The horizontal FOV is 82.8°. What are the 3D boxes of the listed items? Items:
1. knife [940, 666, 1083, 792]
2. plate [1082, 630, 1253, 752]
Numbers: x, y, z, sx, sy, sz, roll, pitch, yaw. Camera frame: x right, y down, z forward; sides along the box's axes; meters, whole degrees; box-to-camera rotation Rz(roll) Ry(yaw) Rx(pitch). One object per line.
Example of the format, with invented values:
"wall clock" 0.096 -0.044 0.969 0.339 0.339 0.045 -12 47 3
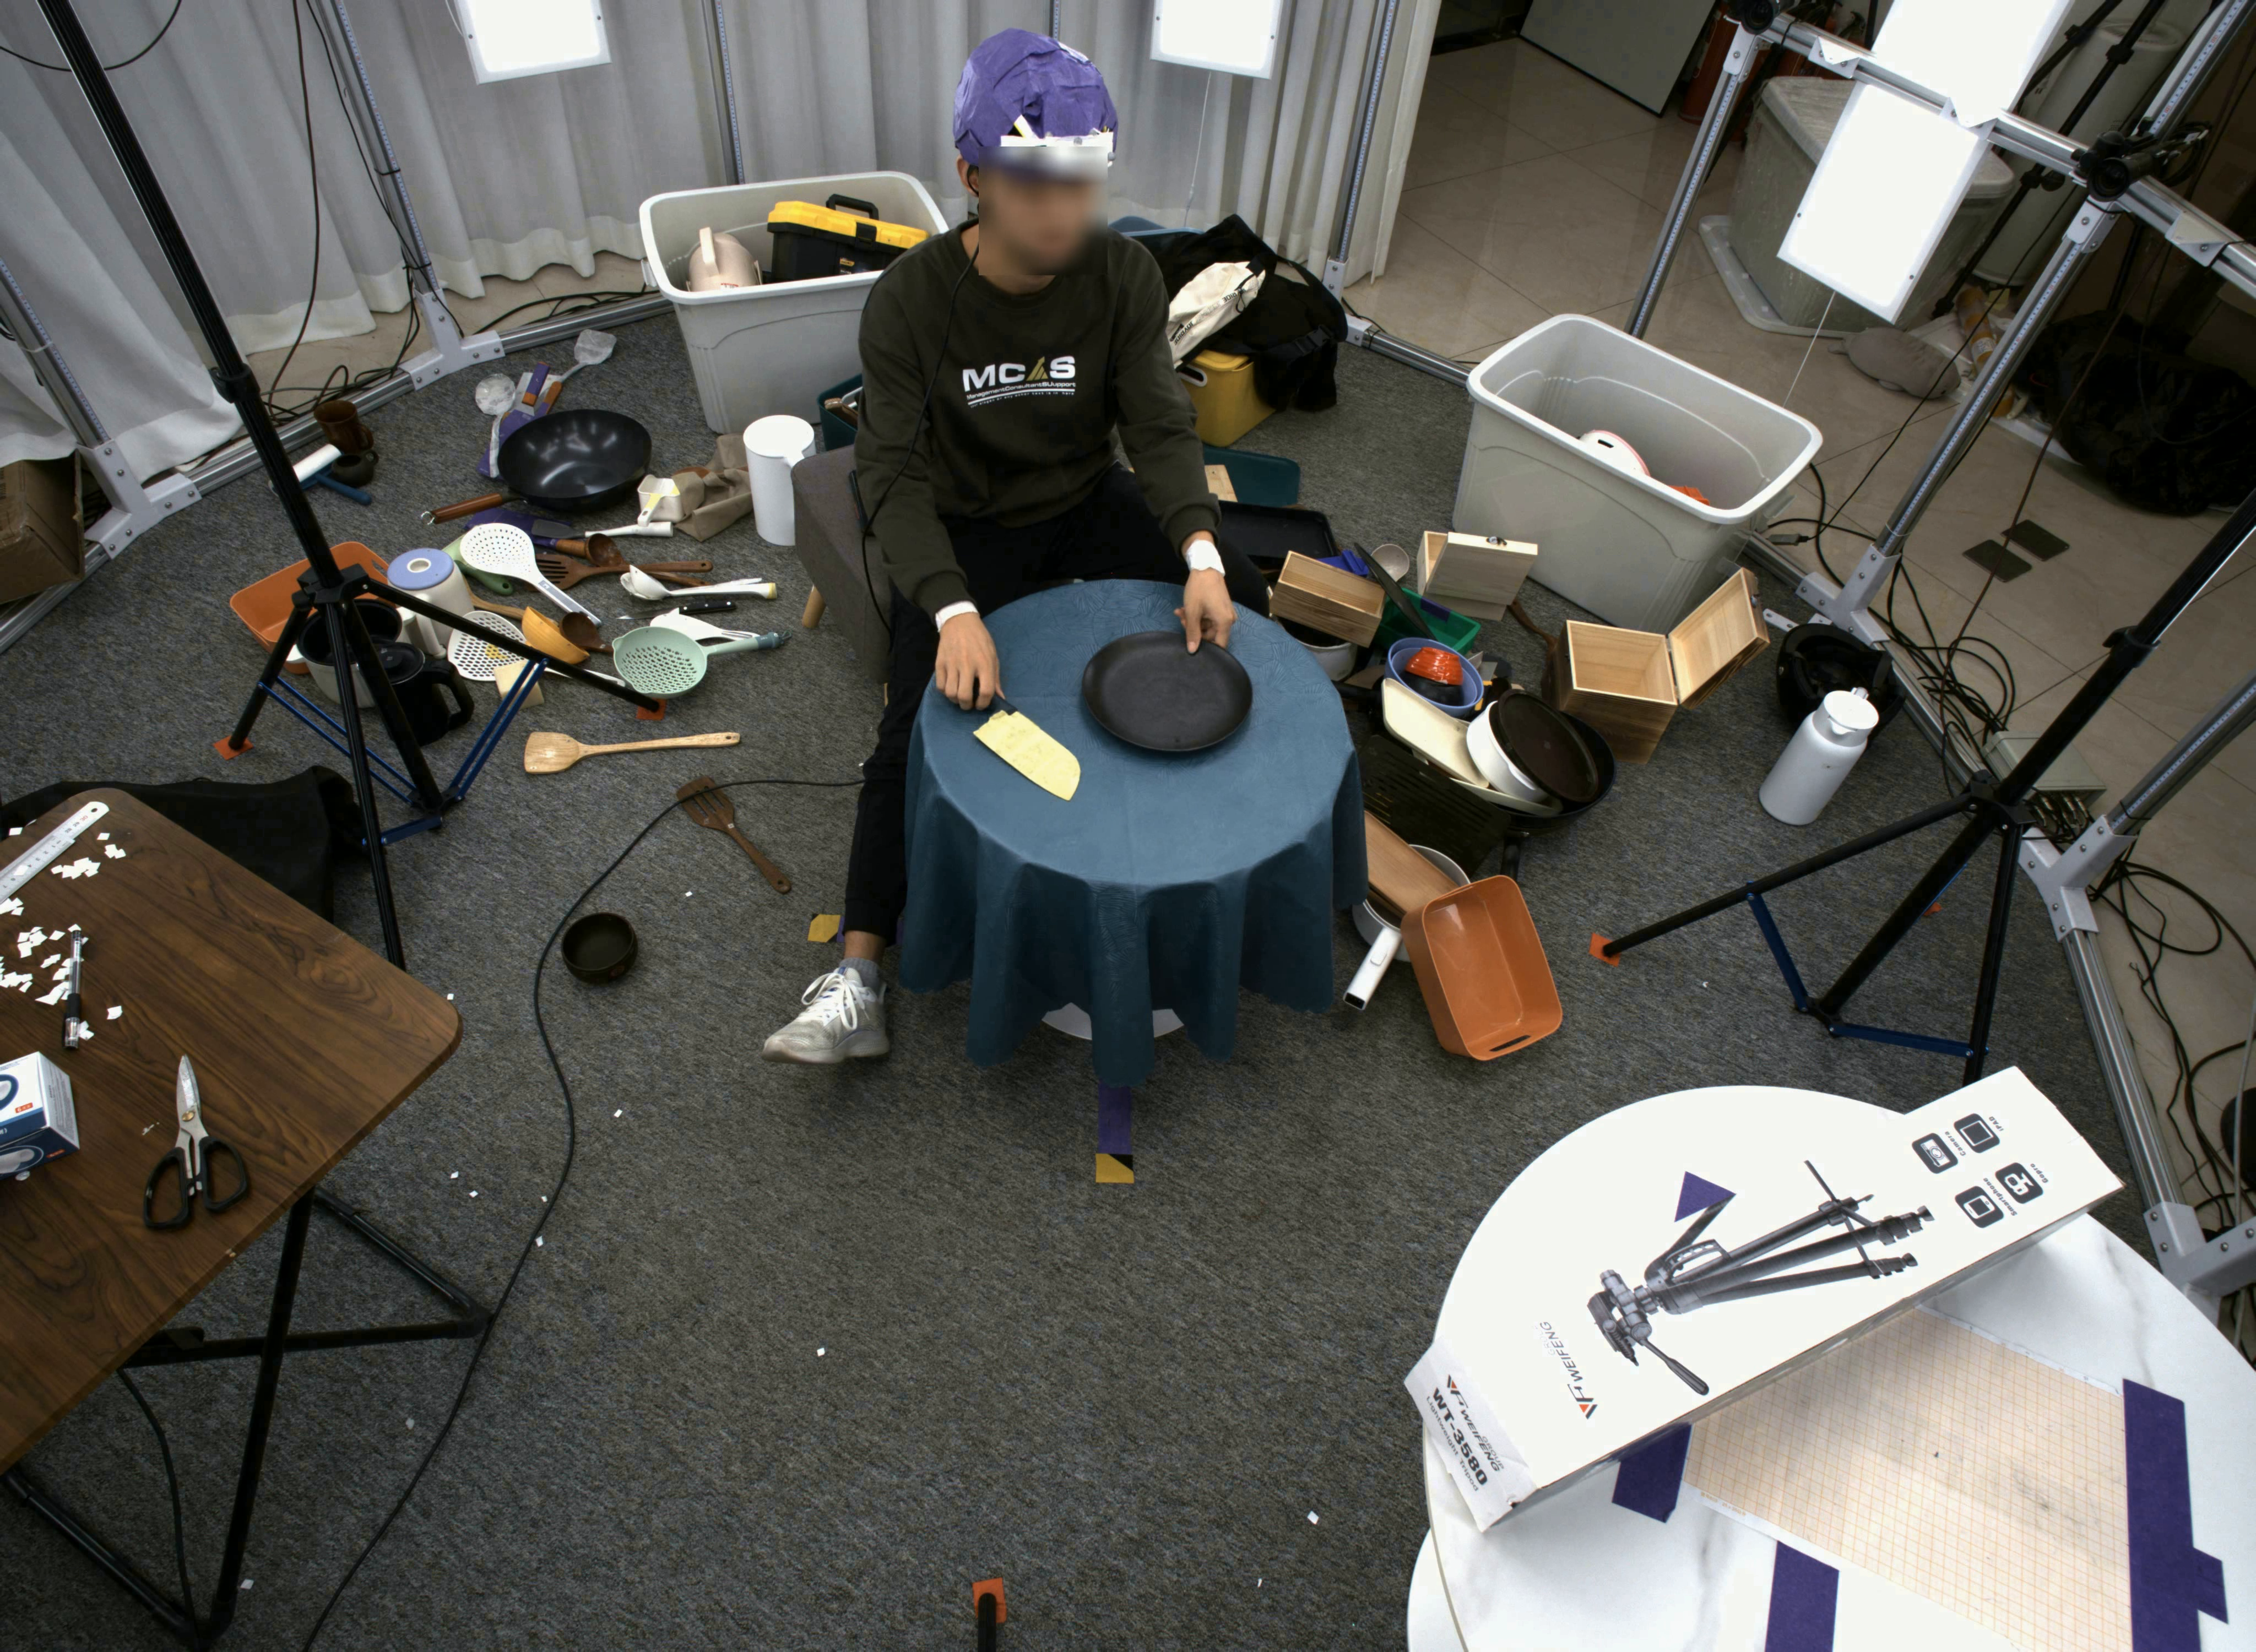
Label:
"knife" -0.168 -0.133 1.762 0.082 0.026 0.294 -34 60 -29
"plate" 0.056 -0.189 1.820 0.244 0.023 0.250 2 49 -2
